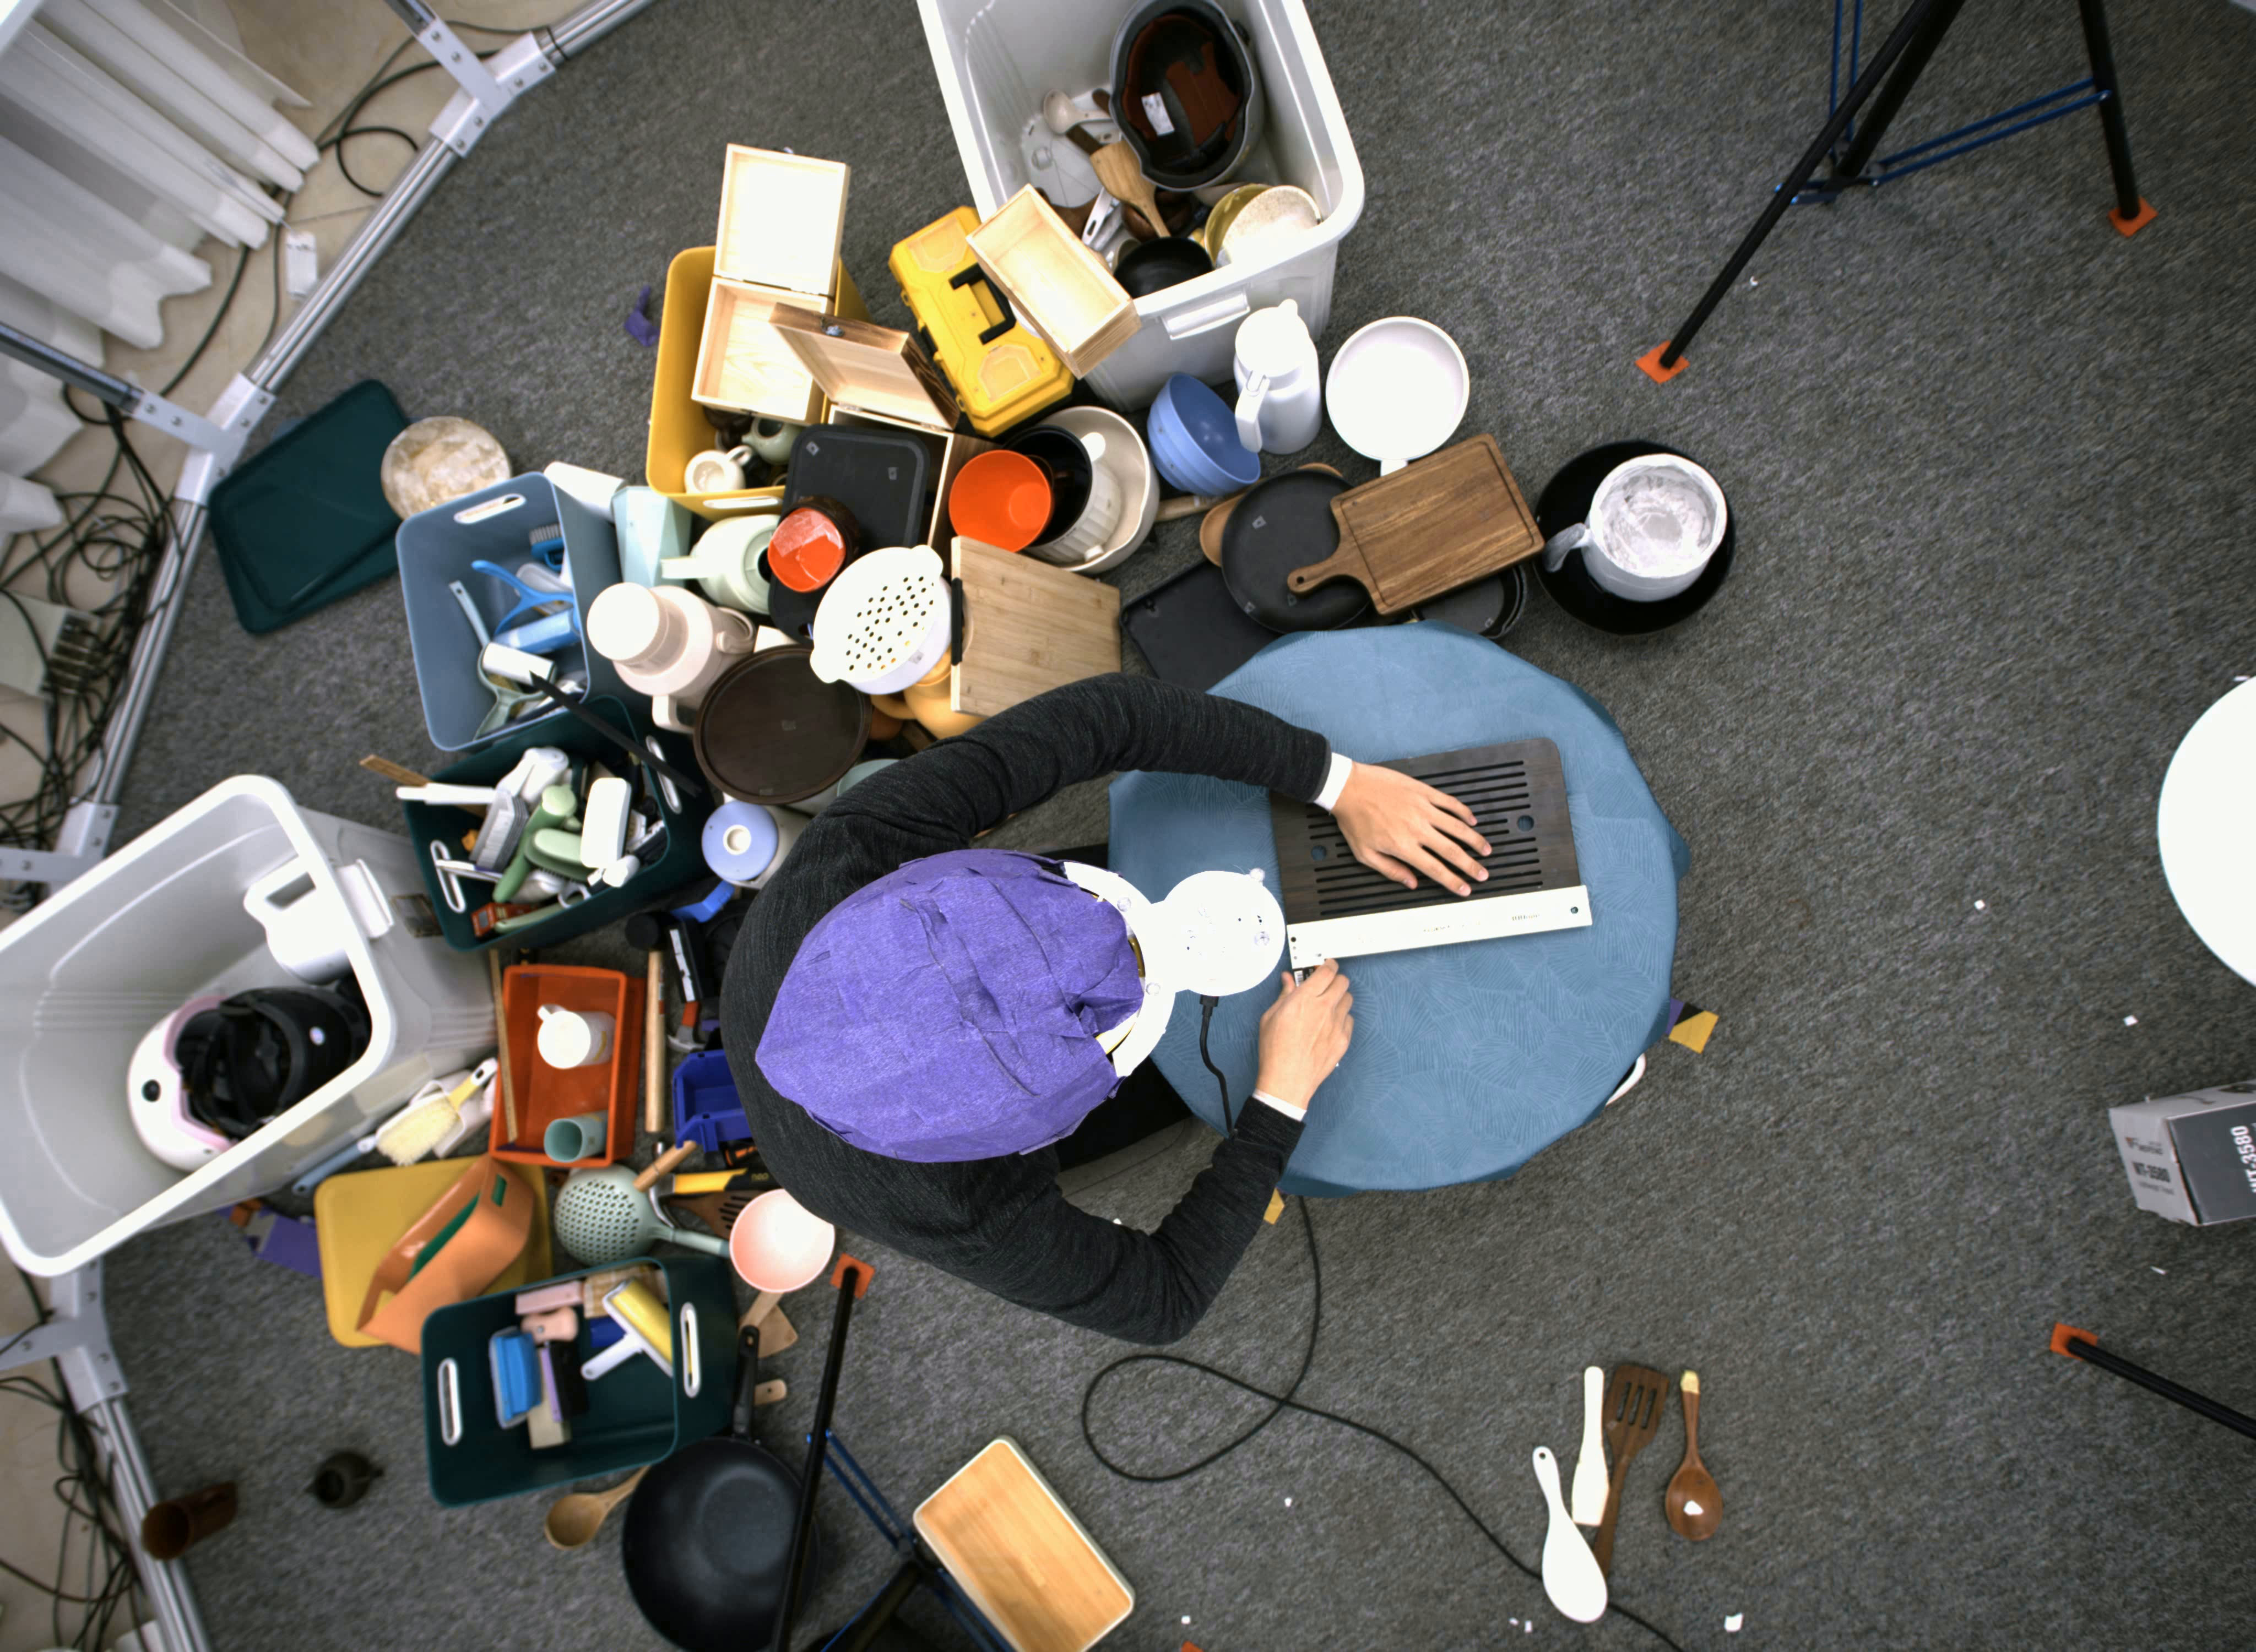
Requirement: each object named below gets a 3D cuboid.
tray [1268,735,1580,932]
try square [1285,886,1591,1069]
[{"bbox_3d":[0.308,0.007,1.447,0.307,0.018,0.169,-9,86,10],"label":"tray"},{"bbox_3d":[0.324,0.154,1.420,0.314,0.016,0.151,-8,81,9],"label":"try square"}]
